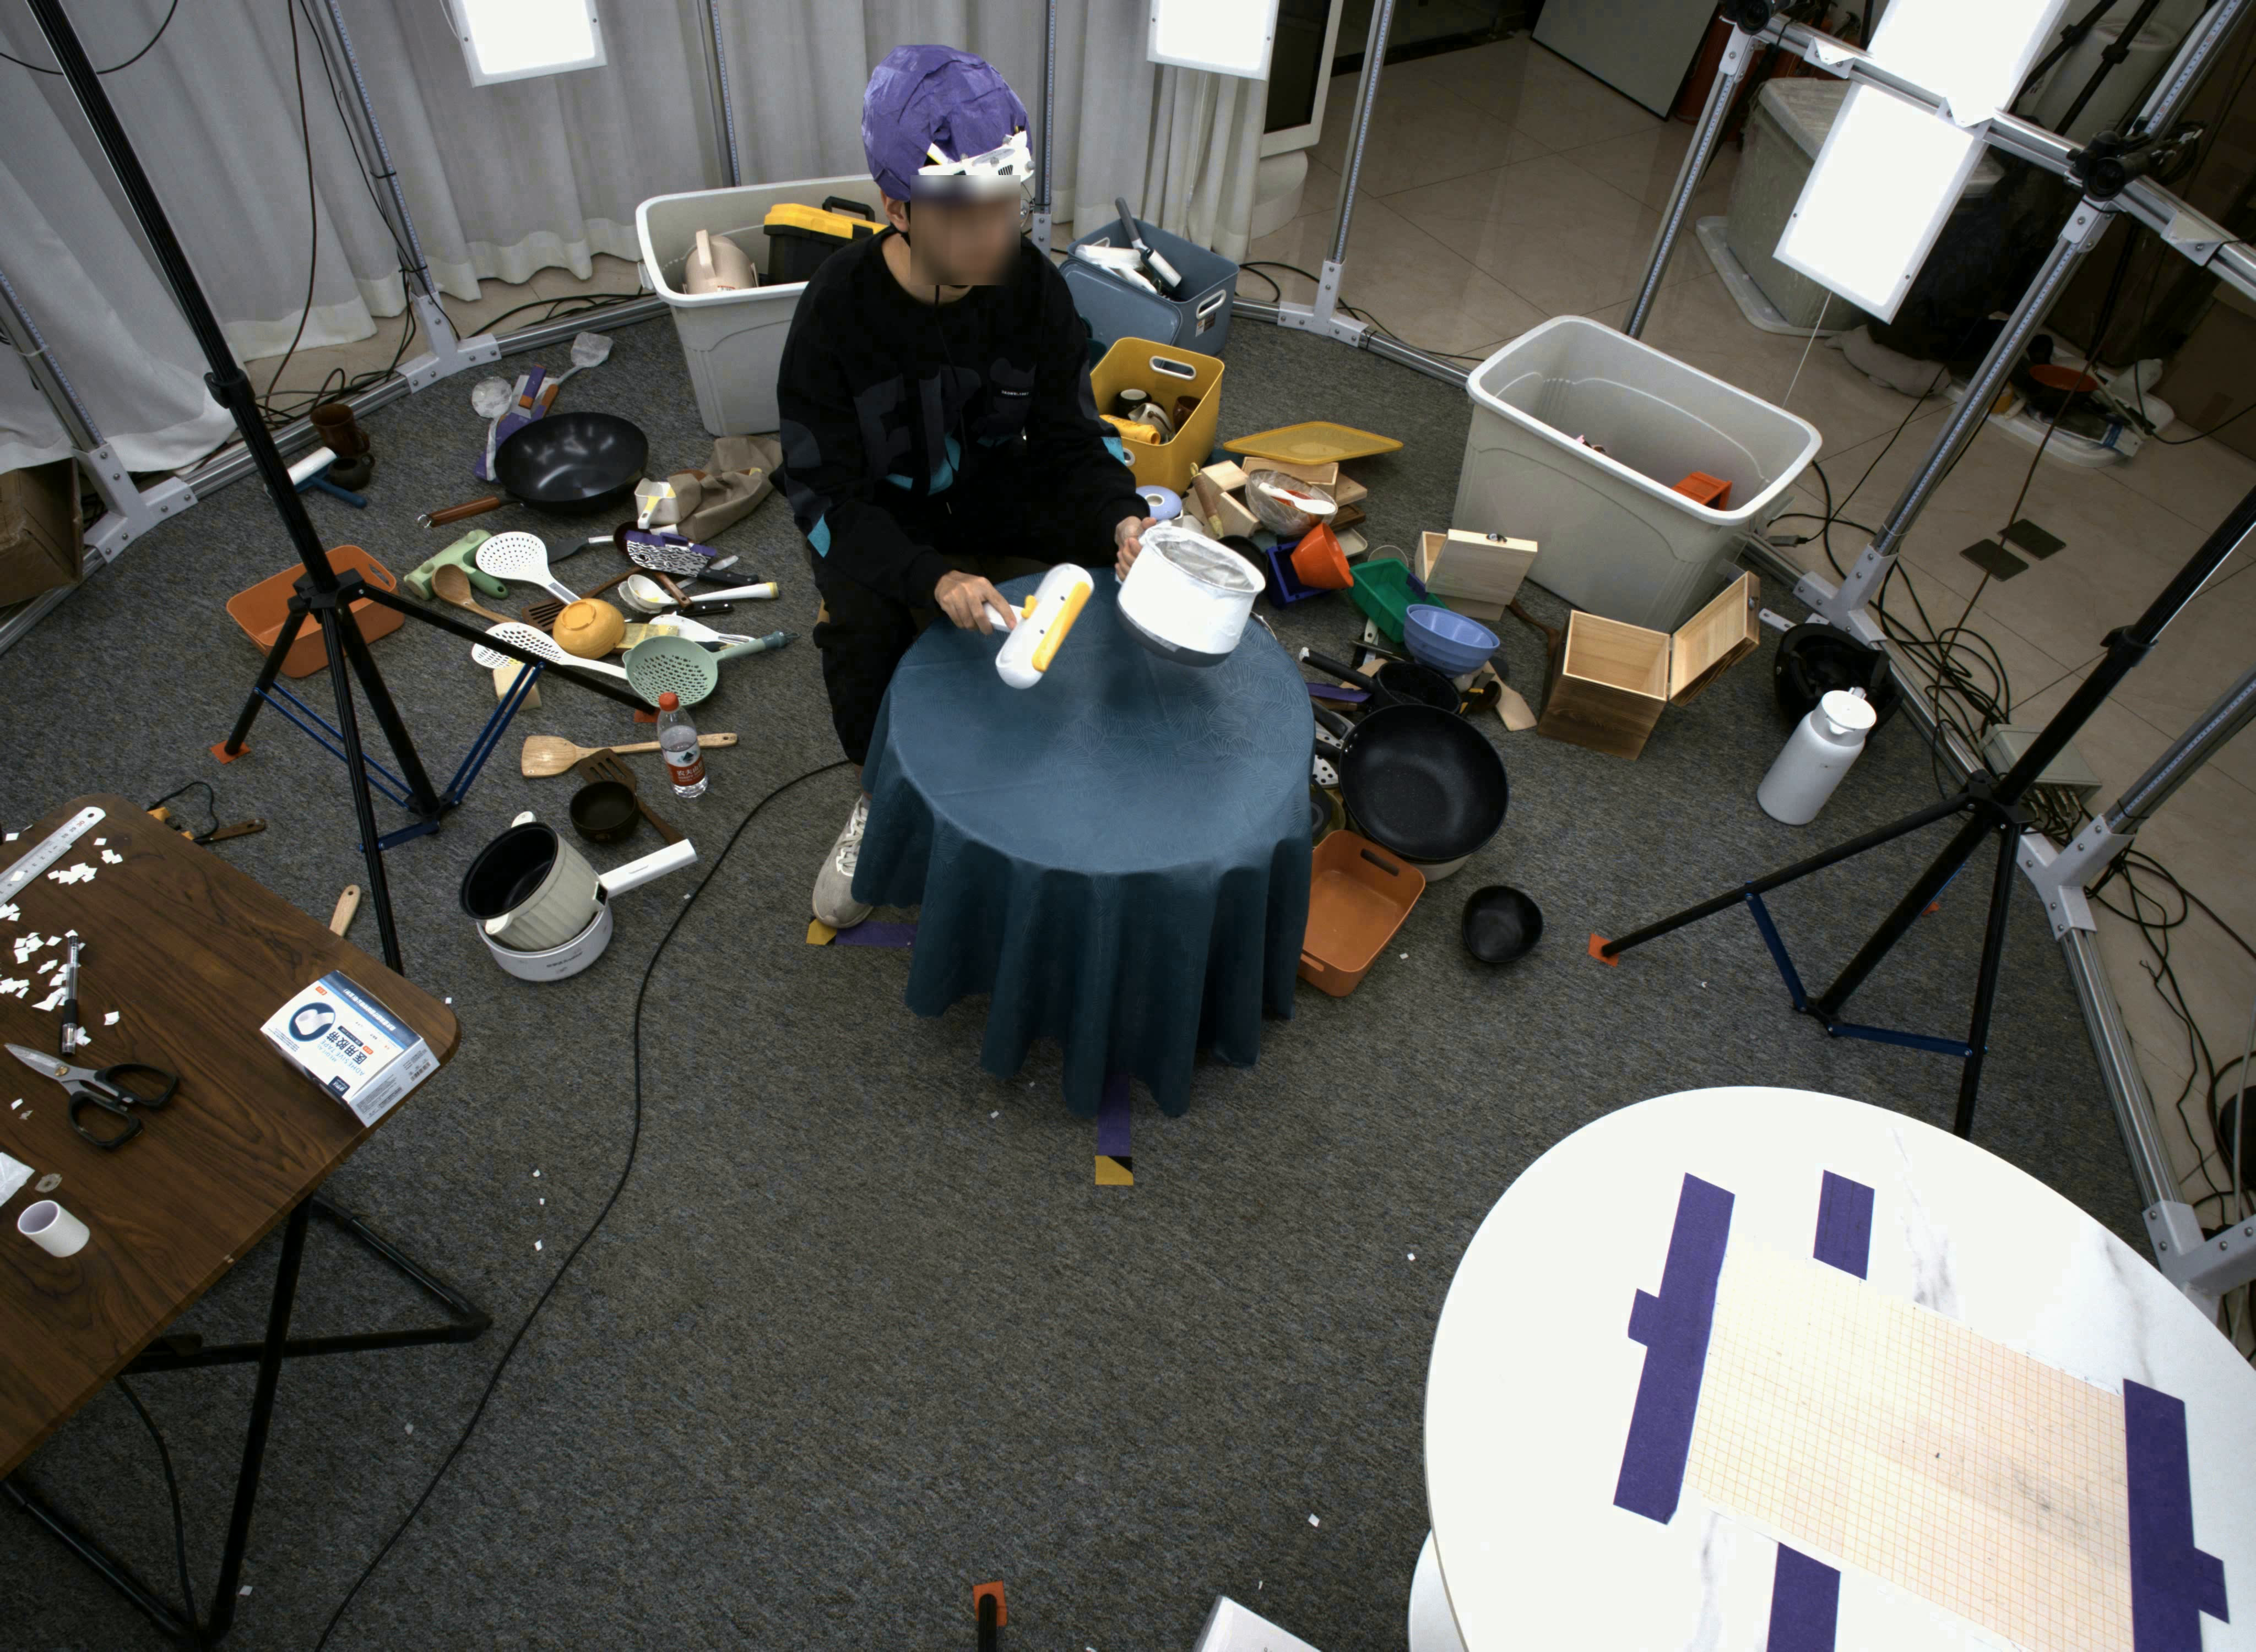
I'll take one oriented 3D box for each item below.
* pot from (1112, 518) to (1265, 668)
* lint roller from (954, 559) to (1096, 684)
[{"bbox_3d":[0.066,-0.329,1.773,0.177,0.134,0.239,3,37,-41],"label":"pot"},{"bbox_3d":[-0.156,-0.288,1.776,0.194,0.072,0.195,7,64,39],"label":"lint roller"}]
